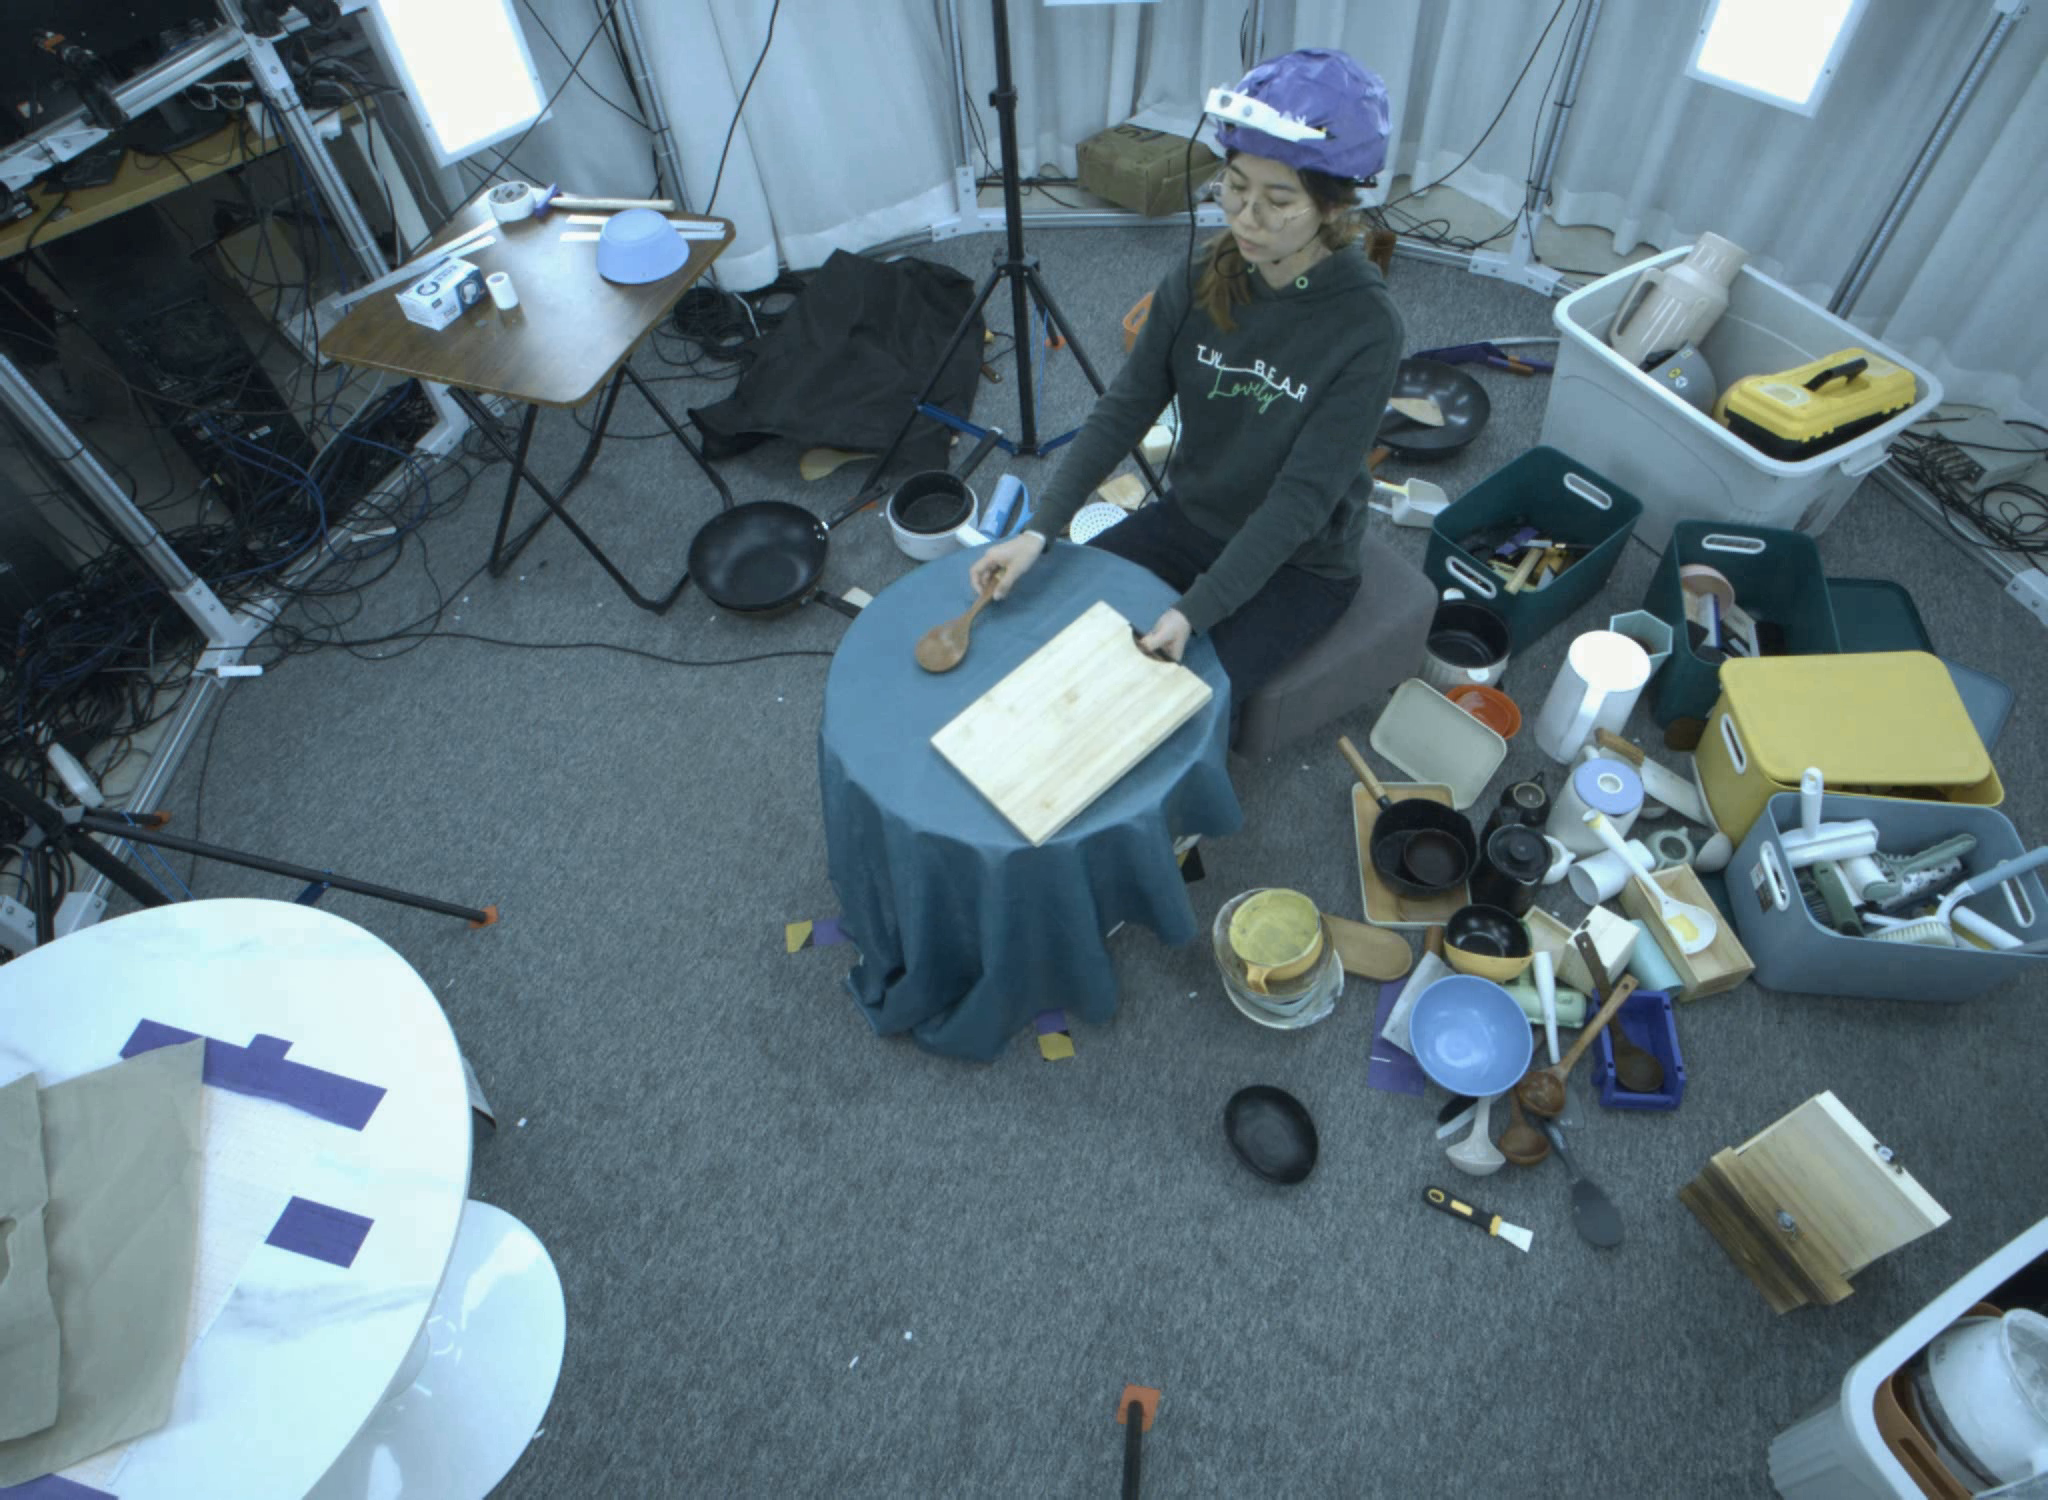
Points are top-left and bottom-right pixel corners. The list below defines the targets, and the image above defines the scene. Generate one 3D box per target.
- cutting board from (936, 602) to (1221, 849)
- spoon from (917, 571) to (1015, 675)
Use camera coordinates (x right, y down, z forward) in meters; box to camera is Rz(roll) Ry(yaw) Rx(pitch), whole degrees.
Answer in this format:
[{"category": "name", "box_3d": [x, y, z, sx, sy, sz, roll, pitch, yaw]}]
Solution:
[{"category": "cutting board", "box_3d": [0.075, -0.045, 1.786, 0.350, 0.024, 0.246, -41, 63, -14]}, {"category": "spoon", "box_3d": [-0.085, -0.199, 1.913, 0.074, 0.017, 0.216, 34, 72, 16]}]
